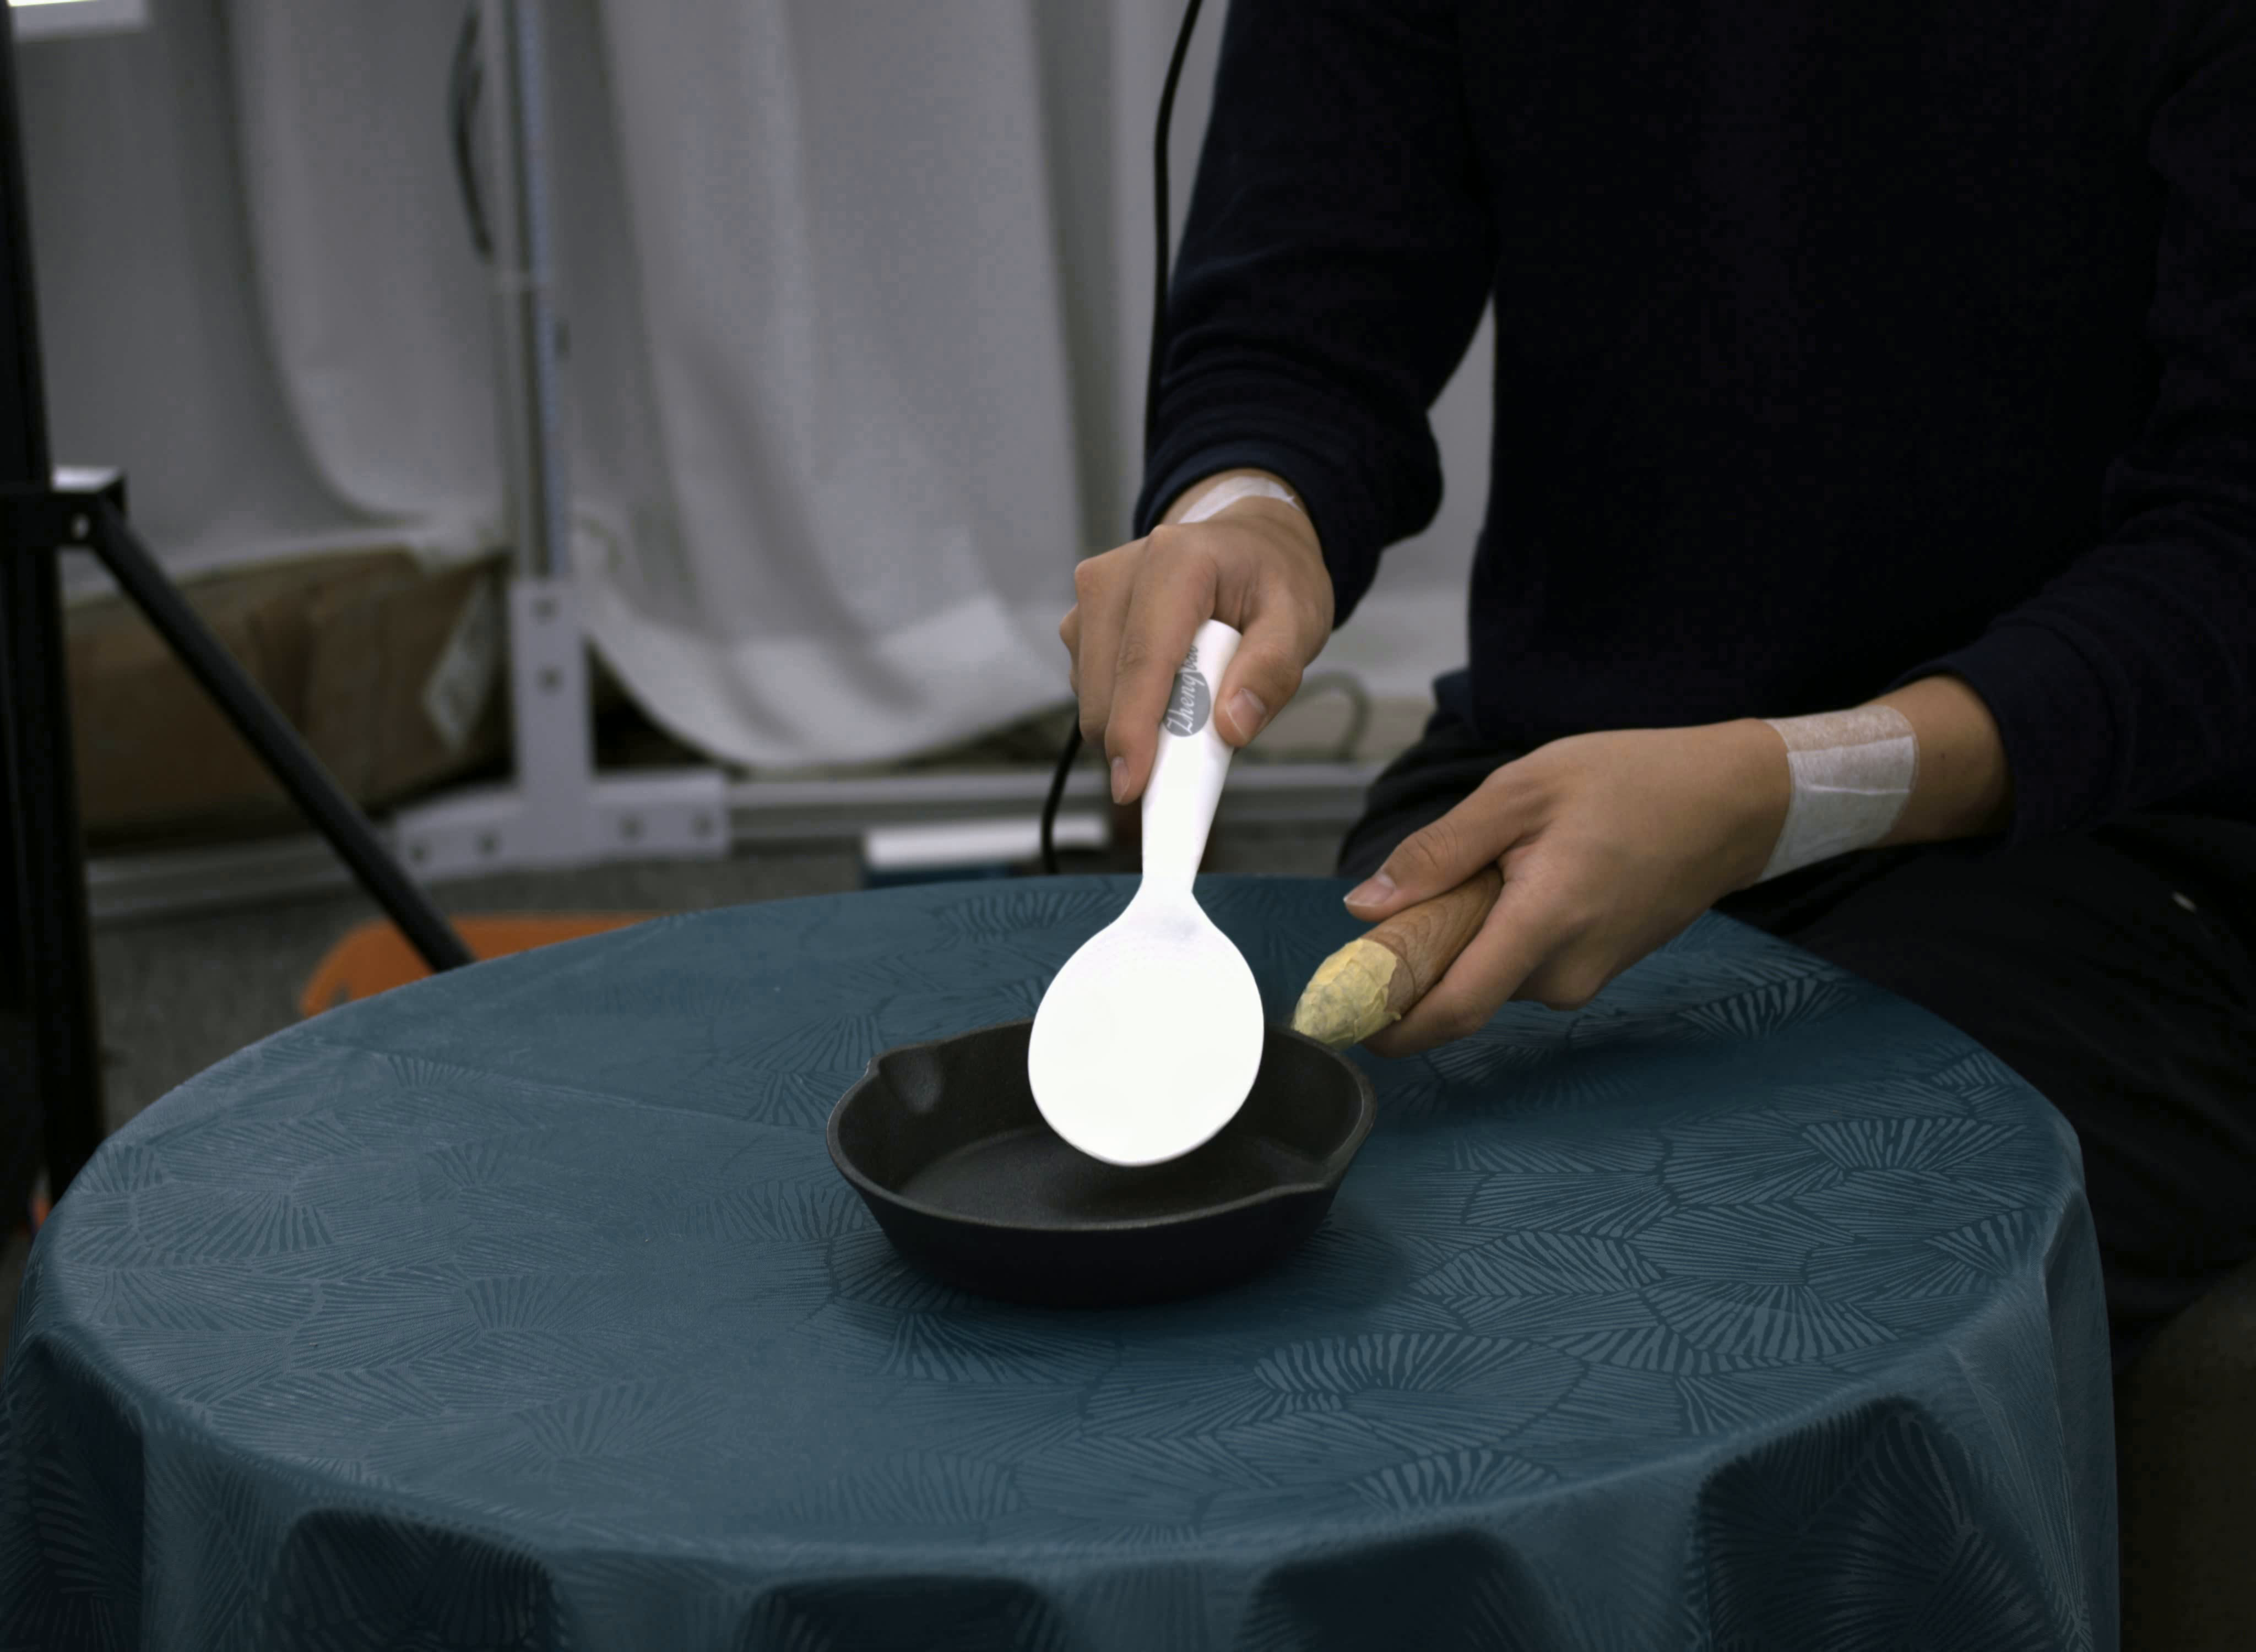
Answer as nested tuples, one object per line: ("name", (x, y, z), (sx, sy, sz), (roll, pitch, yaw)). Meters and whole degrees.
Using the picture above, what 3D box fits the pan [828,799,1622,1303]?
("pan", (0.049, 0.062, 1.569), (0.173, 0.049, 0.318), (15, 29, 41))

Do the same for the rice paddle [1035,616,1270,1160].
("rice paddle", (0.013, 0.019, 1.581), (0.069, 0.029, 0.206), (-2, 46, 10))
